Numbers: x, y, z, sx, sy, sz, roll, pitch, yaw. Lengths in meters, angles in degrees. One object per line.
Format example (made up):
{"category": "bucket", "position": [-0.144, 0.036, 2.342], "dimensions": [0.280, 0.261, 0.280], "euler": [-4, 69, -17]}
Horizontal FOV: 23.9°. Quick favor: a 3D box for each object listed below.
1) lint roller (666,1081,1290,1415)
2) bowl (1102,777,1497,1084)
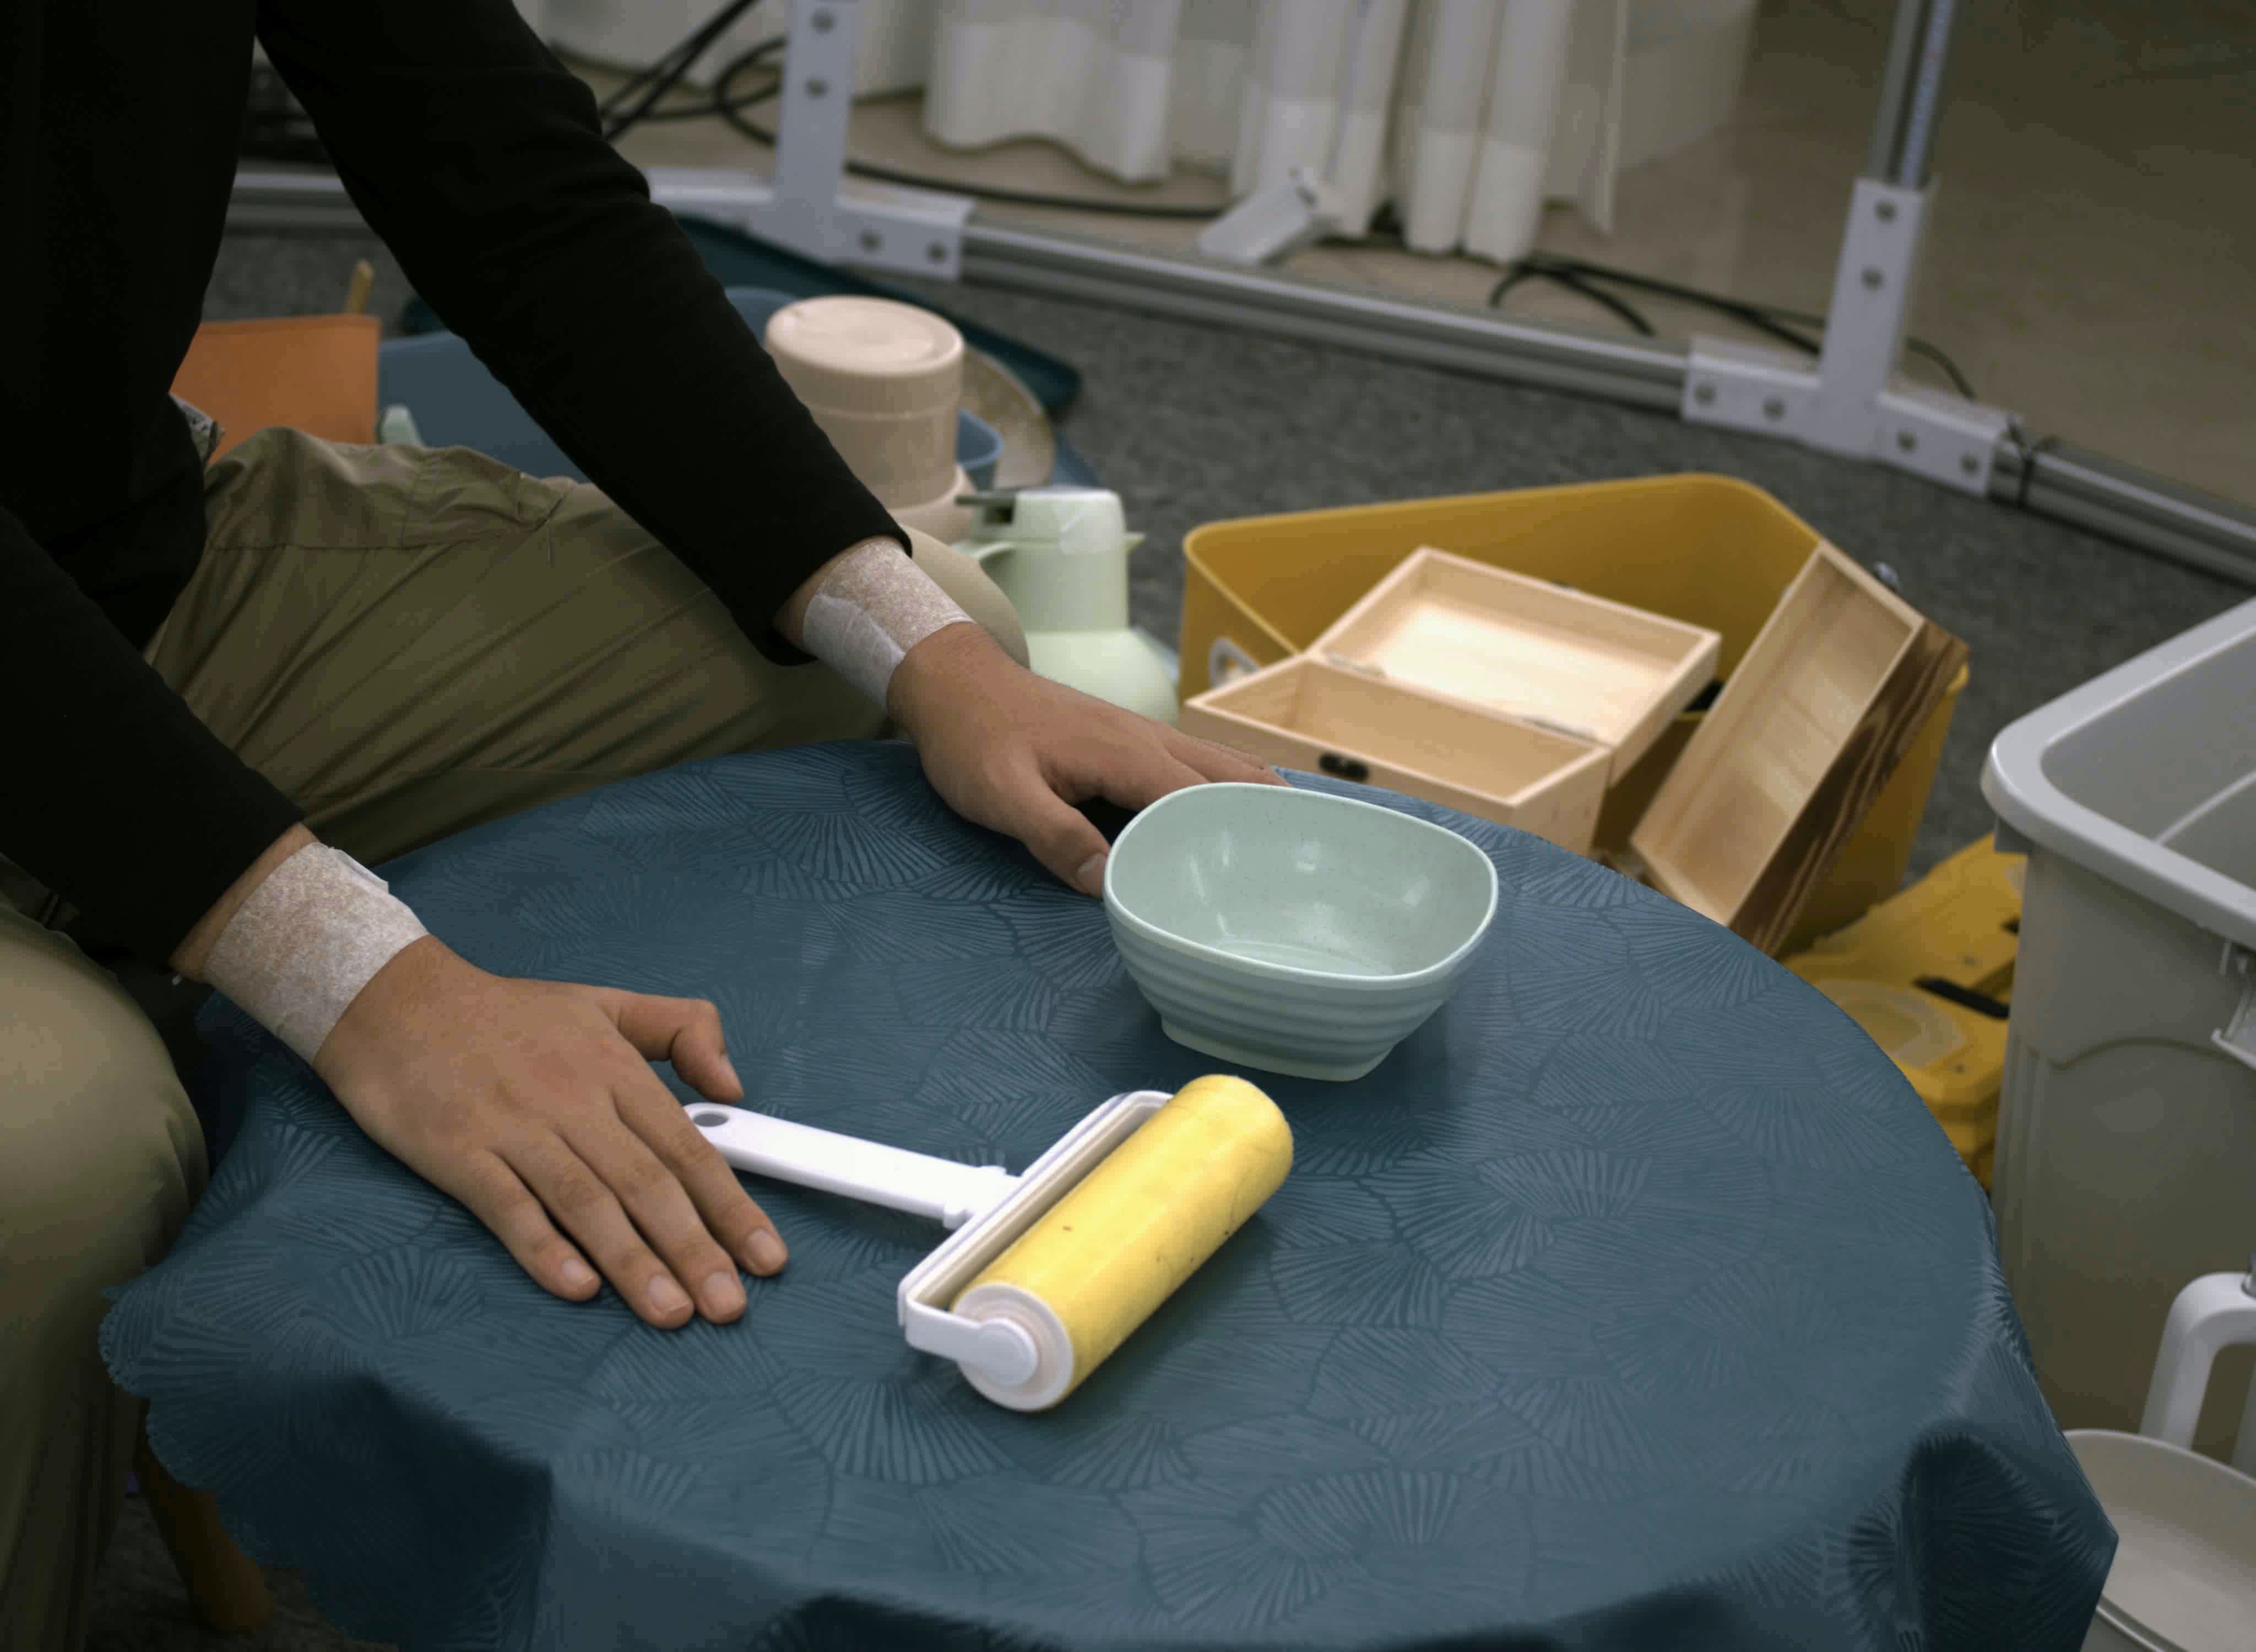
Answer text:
{"category": "lint roller", "position": [-0.065, 0.112, 1.752], "dimensions": [0.192, 0.051, 0.174], "euler": [21, 30, 18]}
{"category": "bowl", "position": [0.058, 0.043, 1.910], "dimensions": [0.151, 0.058, 0.152], "euler": [6, 28, -4]}
